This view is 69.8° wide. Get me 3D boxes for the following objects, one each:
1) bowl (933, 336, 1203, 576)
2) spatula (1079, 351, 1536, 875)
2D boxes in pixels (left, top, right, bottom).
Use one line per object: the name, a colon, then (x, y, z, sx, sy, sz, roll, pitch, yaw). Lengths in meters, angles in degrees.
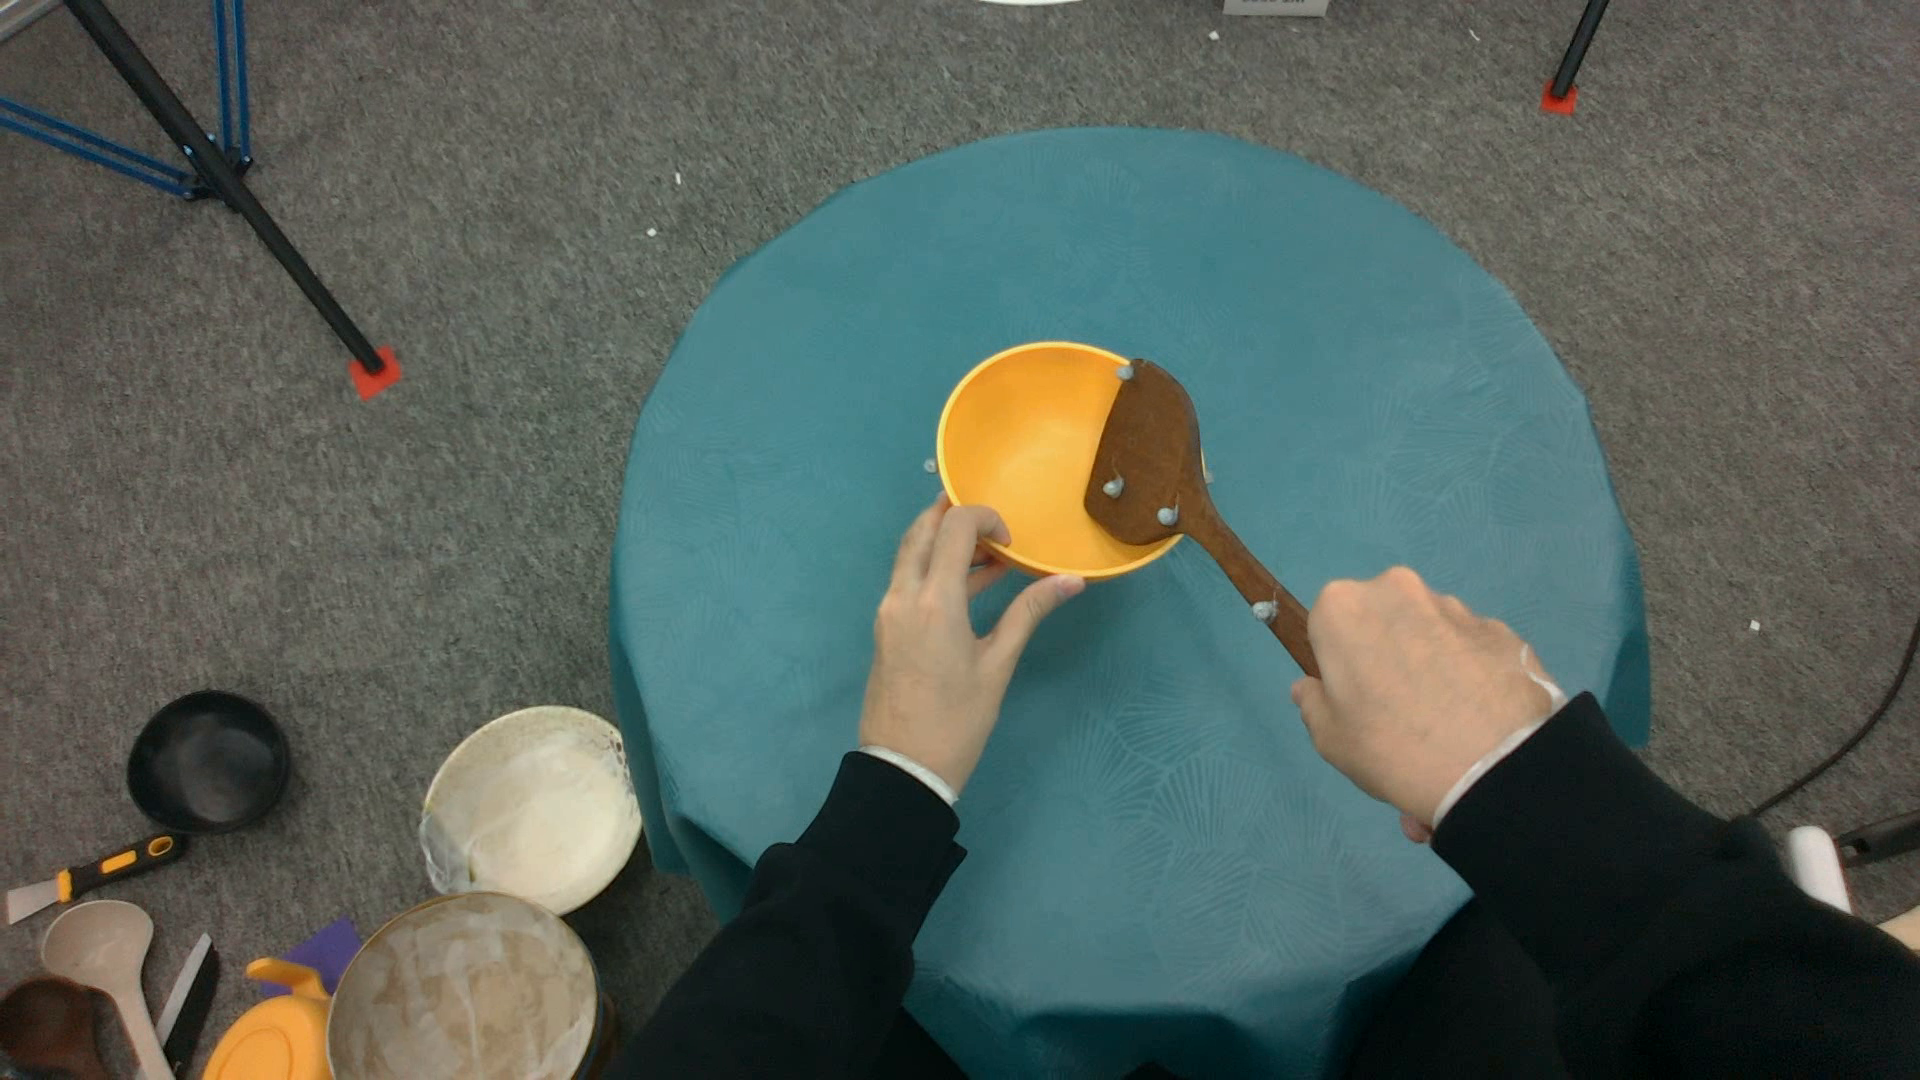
bowl: (0.055, -0.036, 0.754, 0.145, 0.060, 0.146, 3, 63, -5)
spatula: (0.129, 0.016, 0.602, 0.016, 0.096, 0.387, 13, 22, -21)
